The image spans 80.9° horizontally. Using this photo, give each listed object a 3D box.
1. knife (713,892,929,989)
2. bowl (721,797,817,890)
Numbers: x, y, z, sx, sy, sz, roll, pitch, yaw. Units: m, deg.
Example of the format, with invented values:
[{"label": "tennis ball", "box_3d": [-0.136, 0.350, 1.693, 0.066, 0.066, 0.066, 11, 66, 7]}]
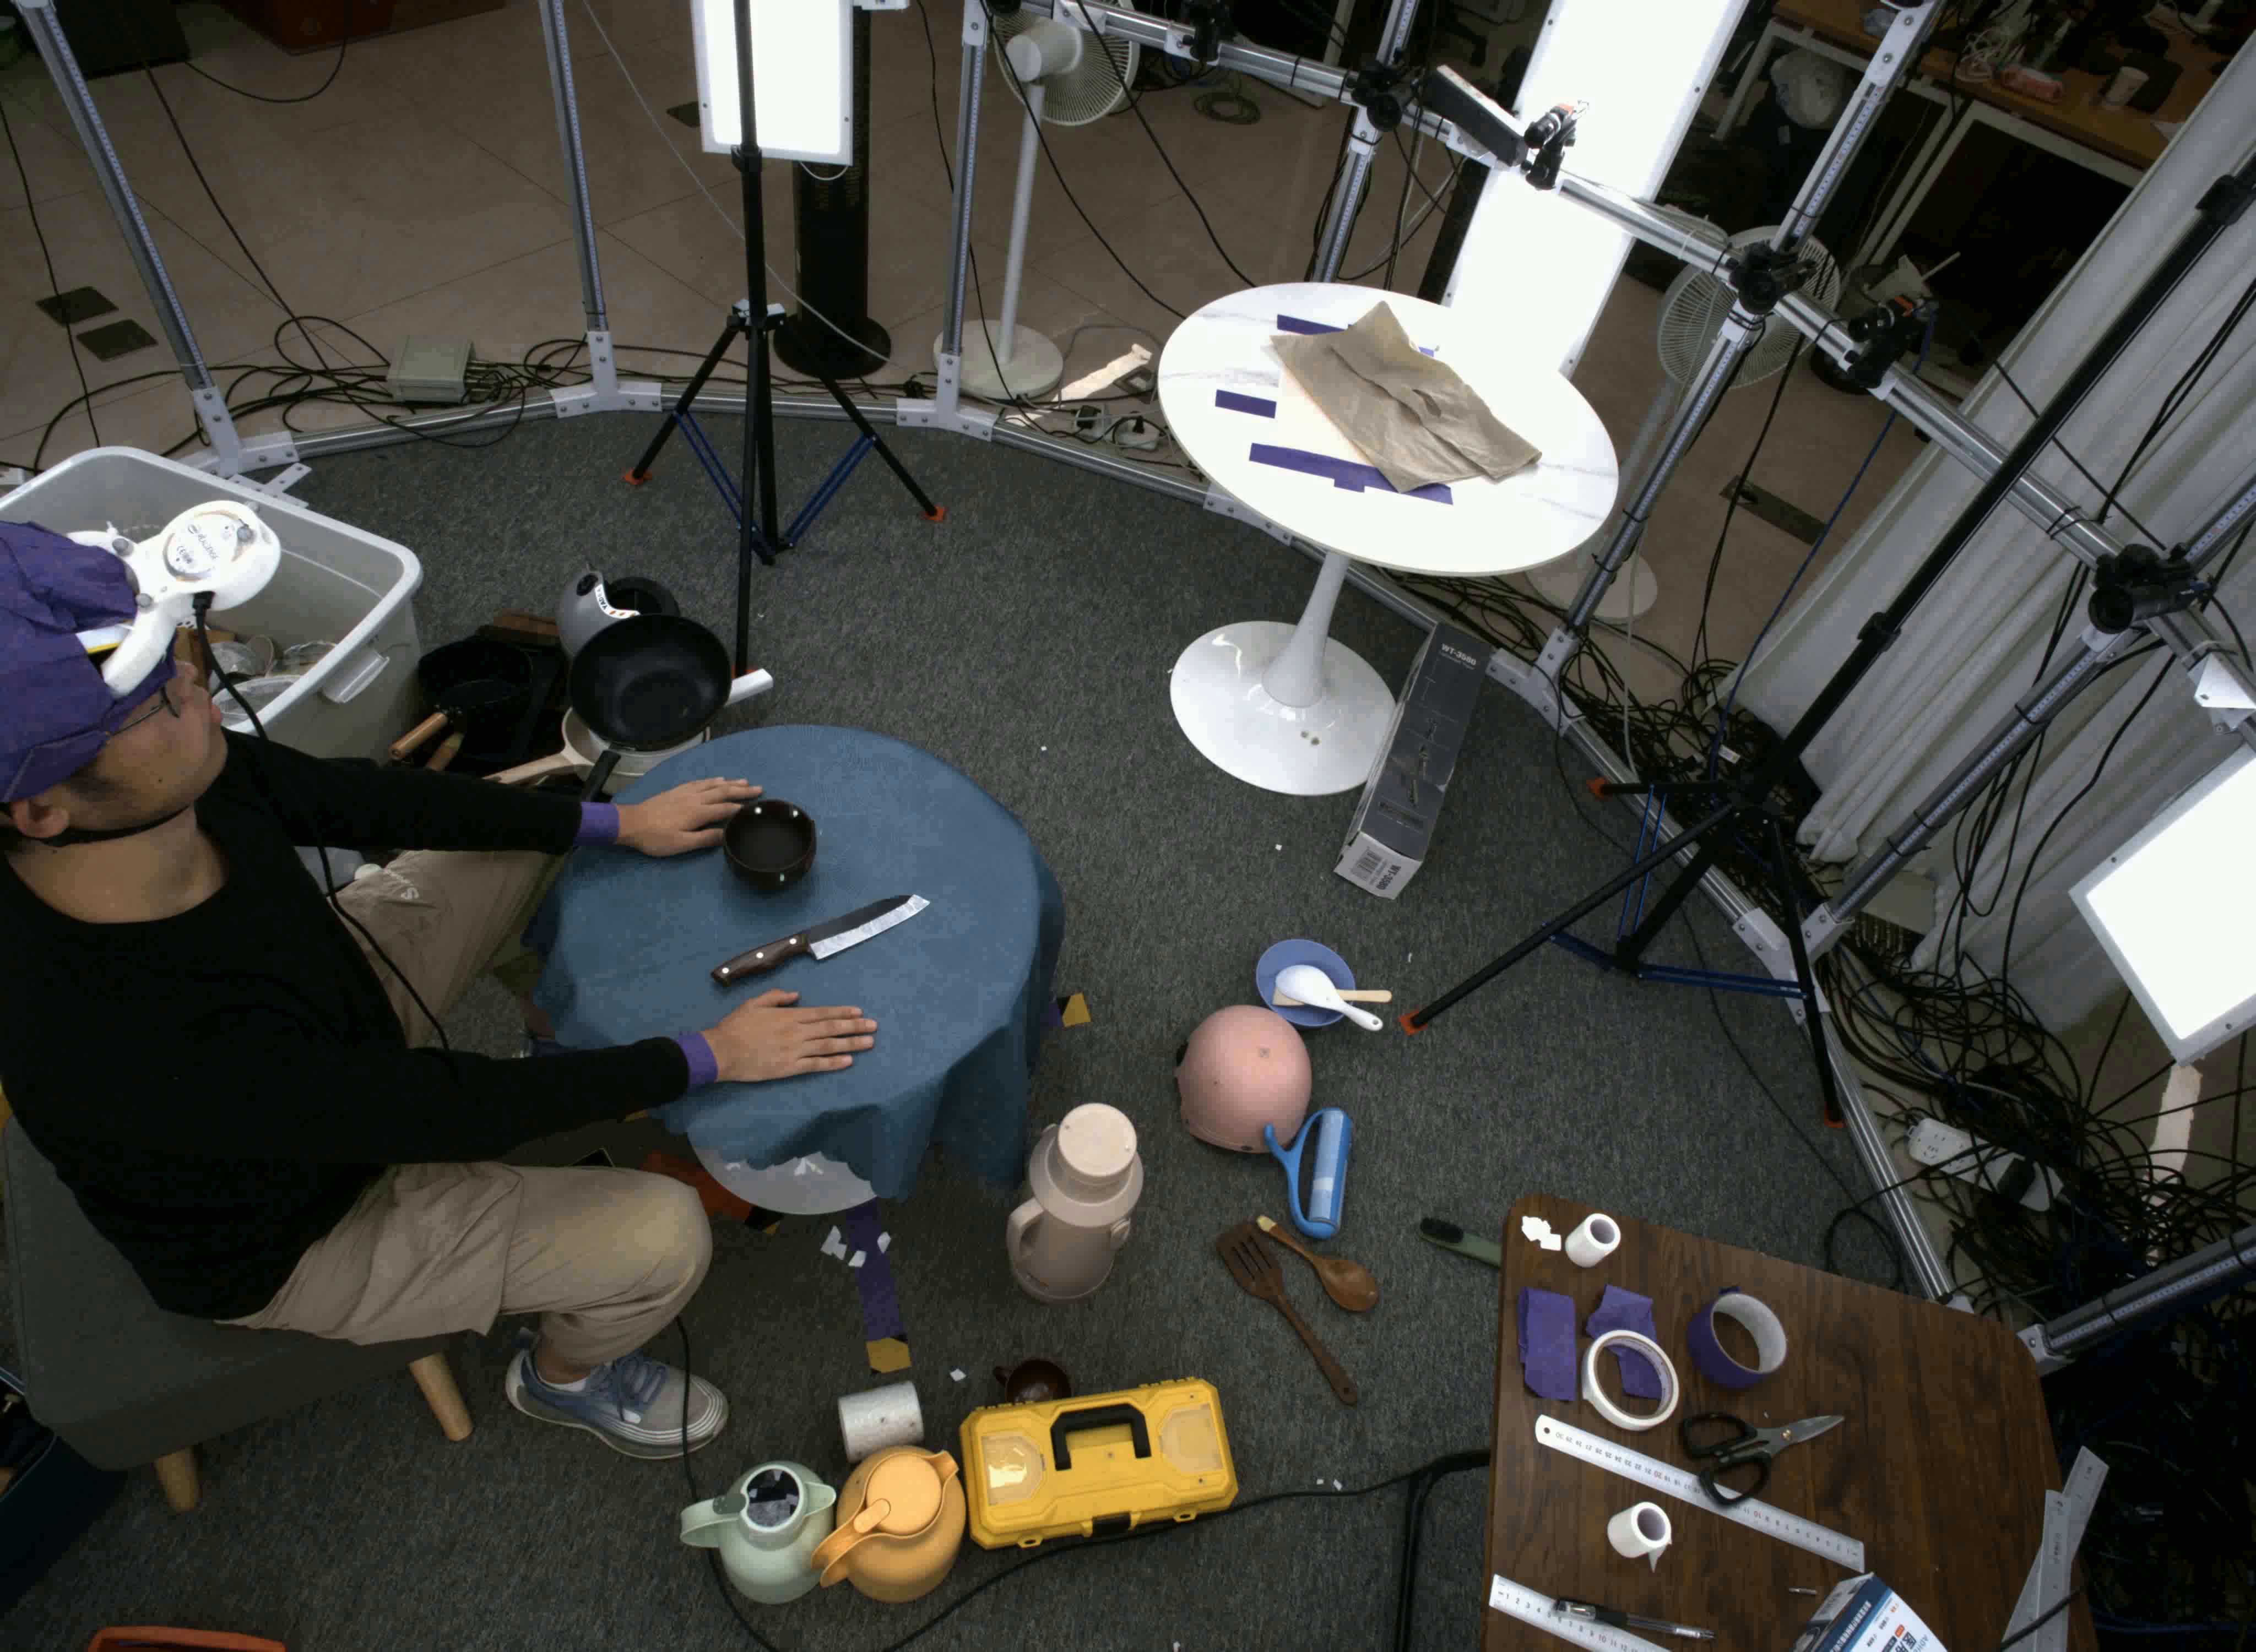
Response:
[{"label": "knife", "box_3d": [-0.378, 0.138, 1.621, 0.291, 0.020, 0.049, -21, 66, -30]}, {"label": "bowl", "box_3d": [-0.455, 0.029, 1.644, 0.118, 0.071, 0.116, 7, 52, -8]}]
